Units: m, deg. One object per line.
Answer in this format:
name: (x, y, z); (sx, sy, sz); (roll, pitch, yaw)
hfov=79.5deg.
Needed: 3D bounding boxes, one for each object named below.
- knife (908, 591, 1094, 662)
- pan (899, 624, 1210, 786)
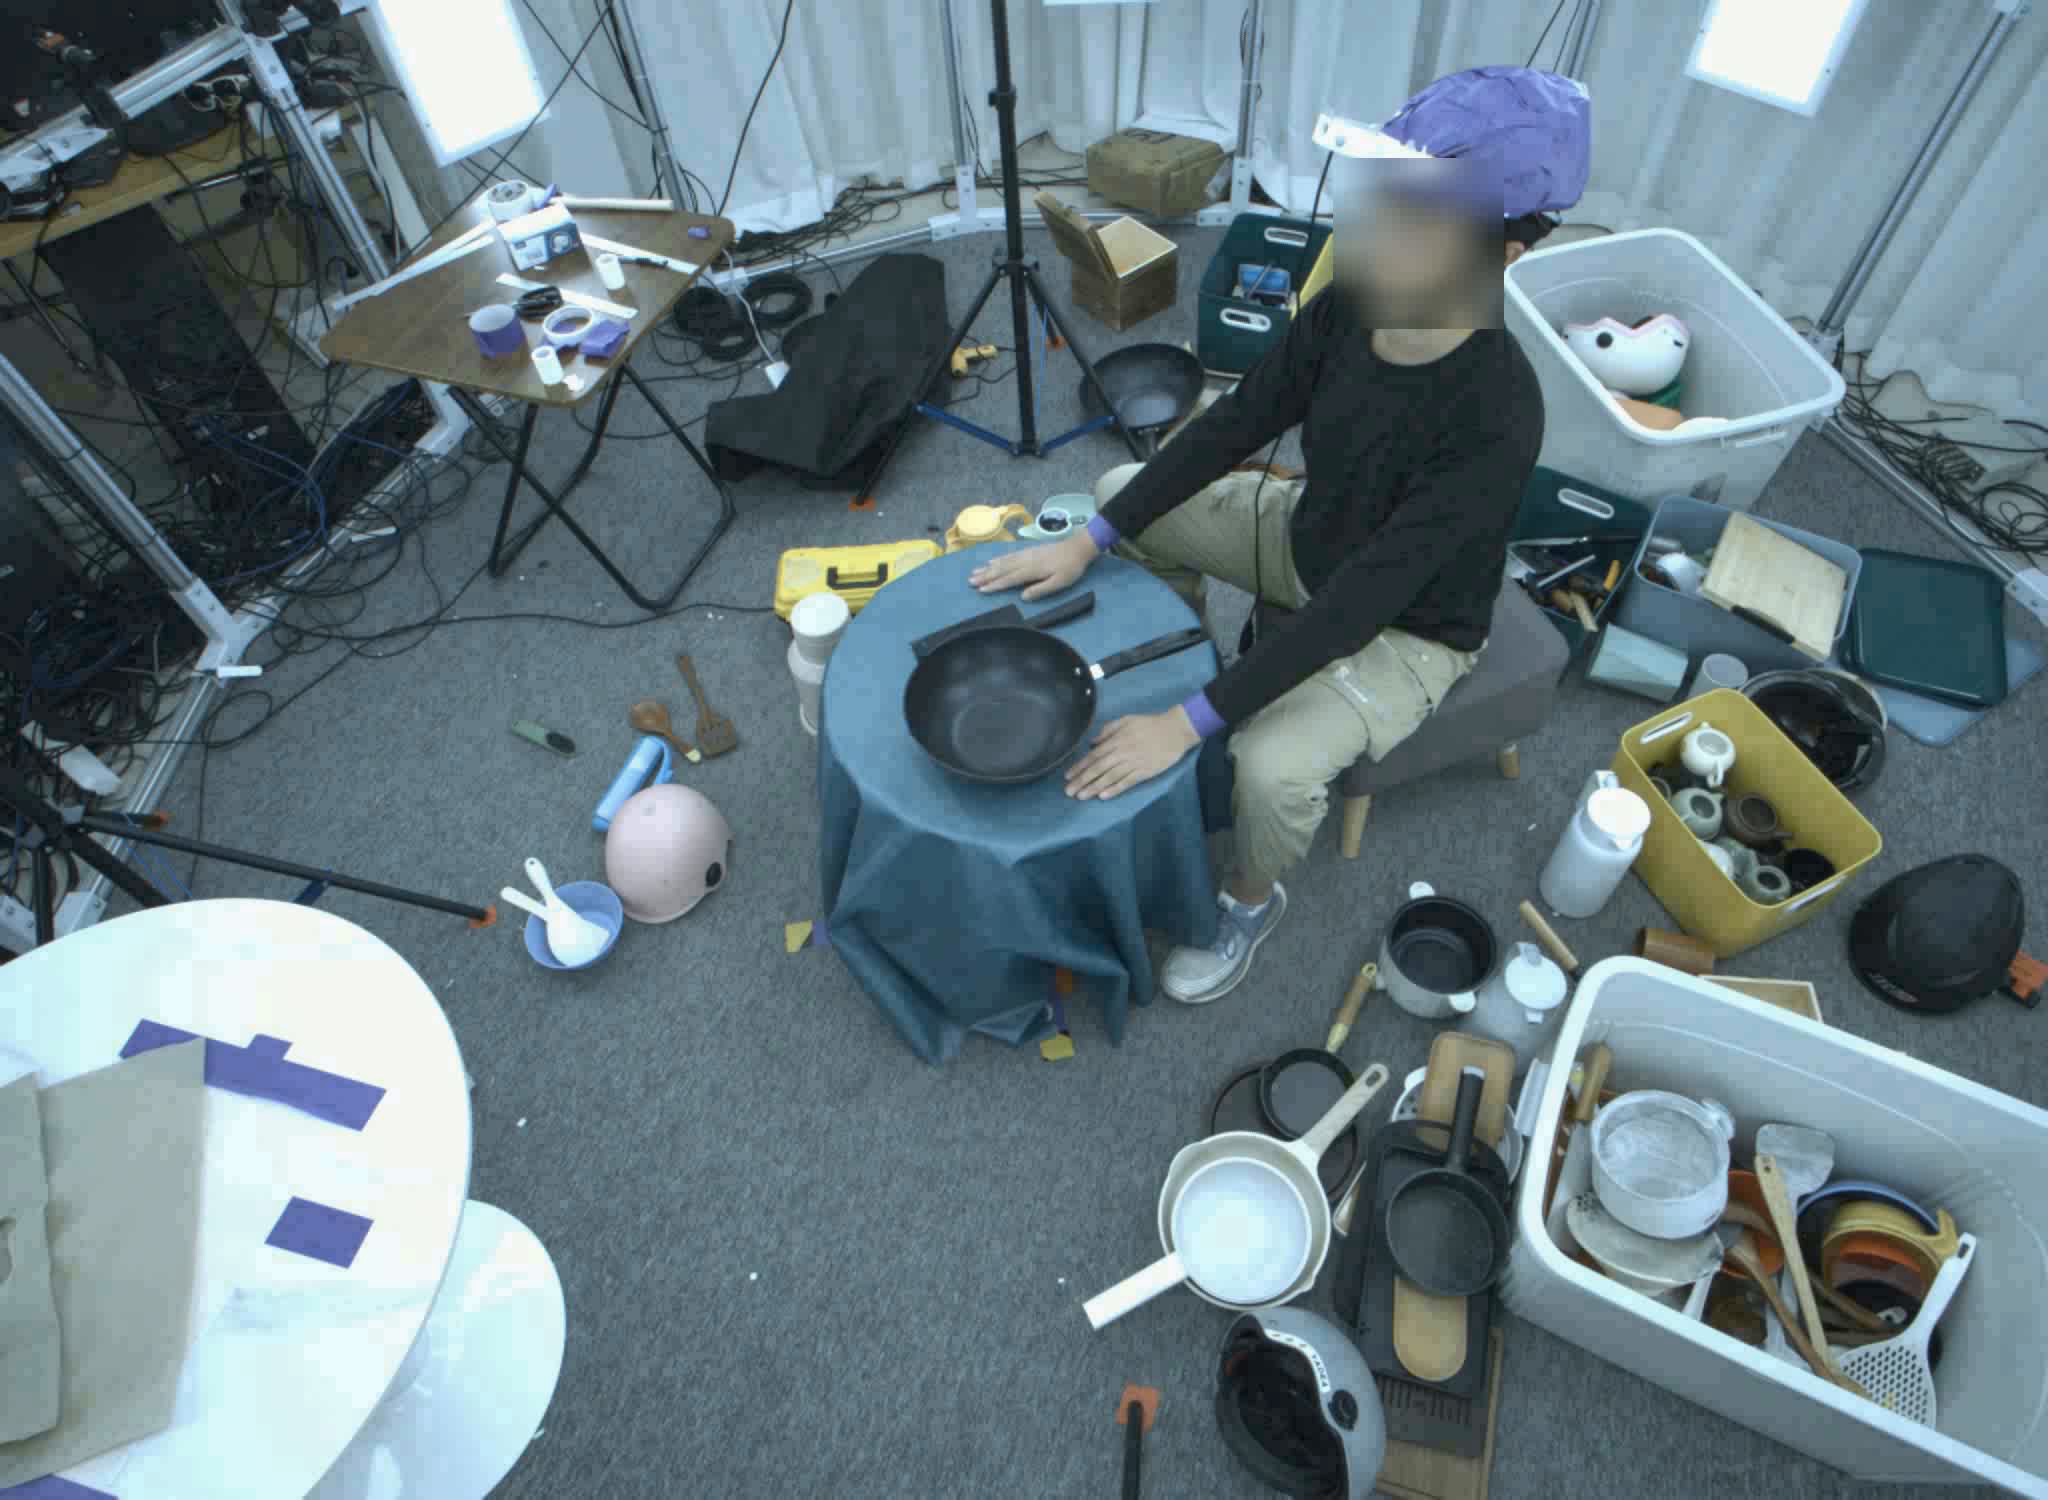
knife: (-0.032, -0.196, 1.916); (0.304, 0.021, 0.079); (-17, 55, -8)
pan: (0.050, -0.080, 1.788); (0.466, 0.088, 0.283); (-18, 56, -11)
